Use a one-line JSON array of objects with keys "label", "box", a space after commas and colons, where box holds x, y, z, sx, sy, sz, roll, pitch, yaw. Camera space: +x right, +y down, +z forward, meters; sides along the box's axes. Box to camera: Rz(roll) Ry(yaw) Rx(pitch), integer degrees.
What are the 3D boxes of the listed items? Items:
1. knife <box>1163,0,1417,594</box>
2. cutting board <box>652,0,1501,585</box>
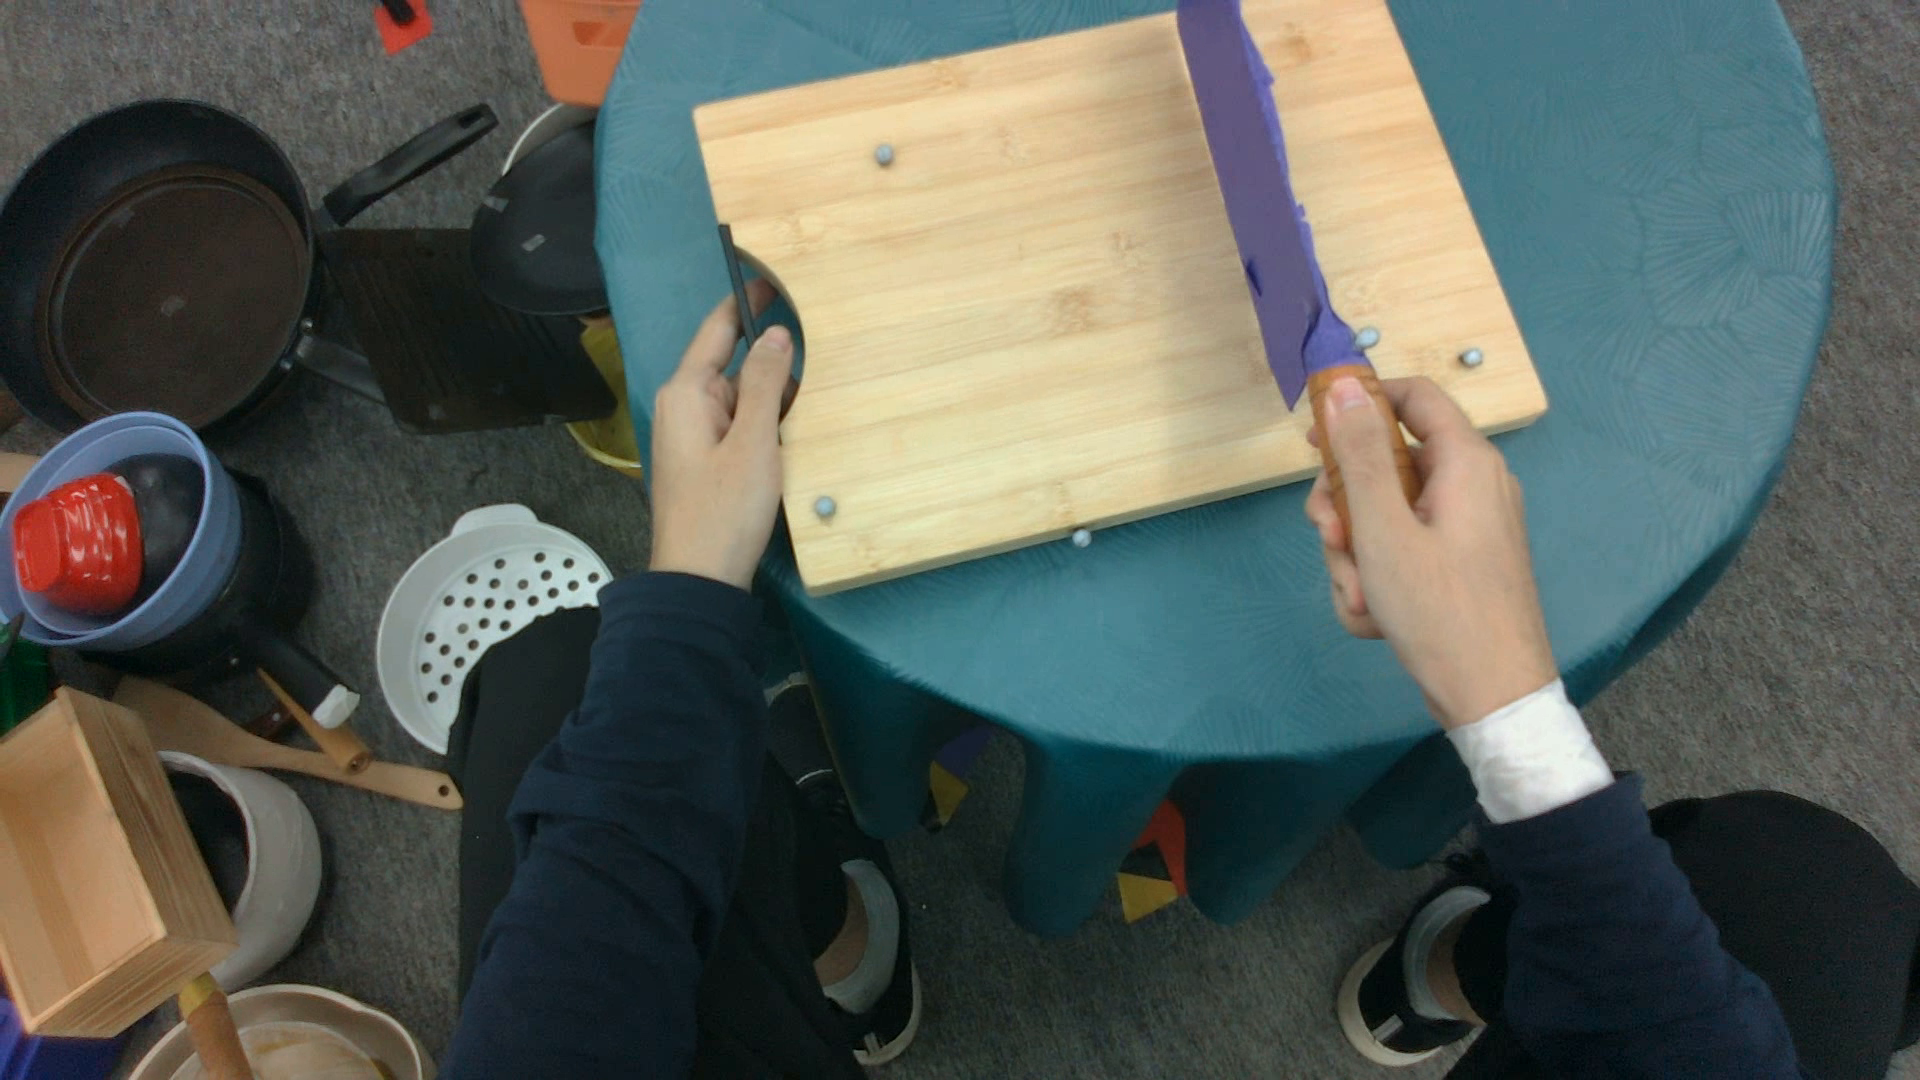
[{"label": "knife", "box": [0.130, -0.124, 0.580, 0.032, 0.103, 0.316, -10, 74, 0]}, {"label": "cutting board", "box": [0.053, -0.132, 0.640, 0.349, 0.023, 0.251, -14, 74, -8]}]
